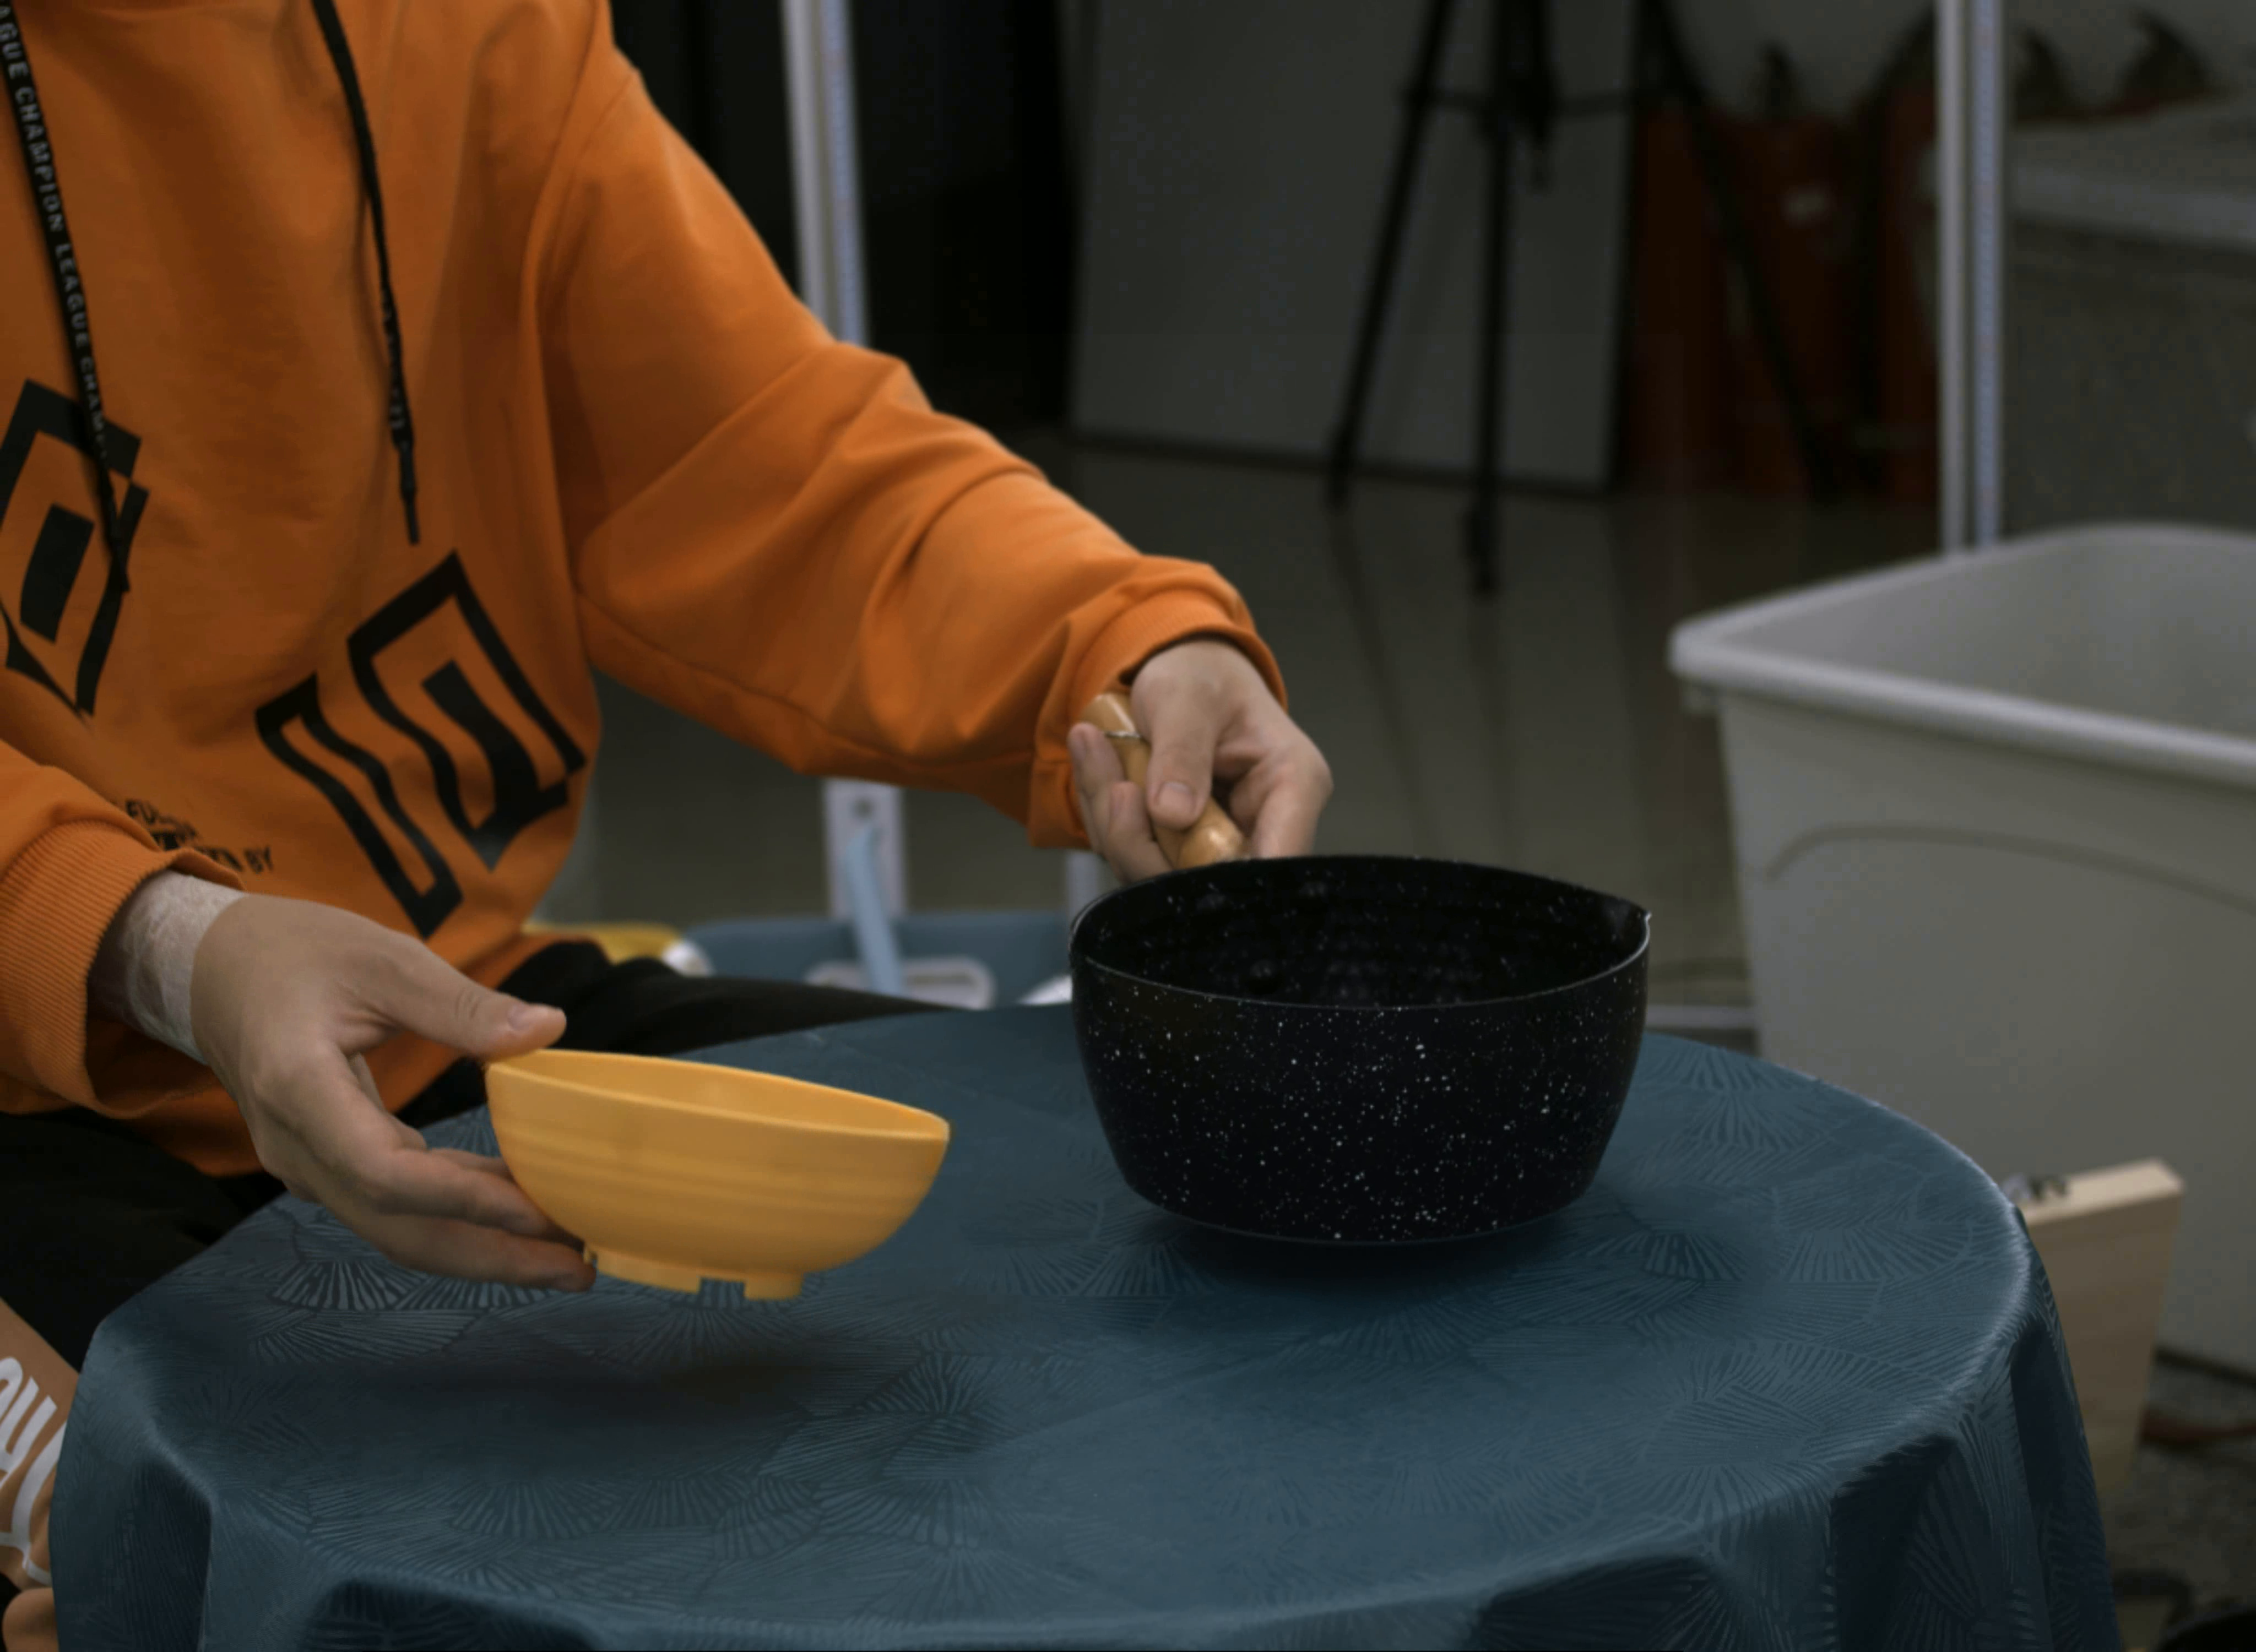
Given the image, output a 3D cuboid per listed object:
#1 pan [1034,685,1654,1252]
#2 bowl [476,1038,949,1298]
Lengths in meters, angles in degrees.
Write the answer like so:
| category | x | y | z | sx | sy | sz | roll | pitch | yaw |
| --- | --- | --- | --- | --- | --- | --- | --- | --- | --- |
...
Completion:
| category | x | y | z | sx | sy | sz | roll | pitch | yaw |
| --- | --- | --- | --- | --- | --- | --- | --- | --- | --- |
| pan | 0.046 | 0.042 | 1.783 | 0.203 | 0.109 | 0.346 | -6 | 16 | -18 |
| bowl | -0.128 | 0.105 | 1.609 | 0.143 | 0.061 | 0.145 | 10 | -1 | -1 |
